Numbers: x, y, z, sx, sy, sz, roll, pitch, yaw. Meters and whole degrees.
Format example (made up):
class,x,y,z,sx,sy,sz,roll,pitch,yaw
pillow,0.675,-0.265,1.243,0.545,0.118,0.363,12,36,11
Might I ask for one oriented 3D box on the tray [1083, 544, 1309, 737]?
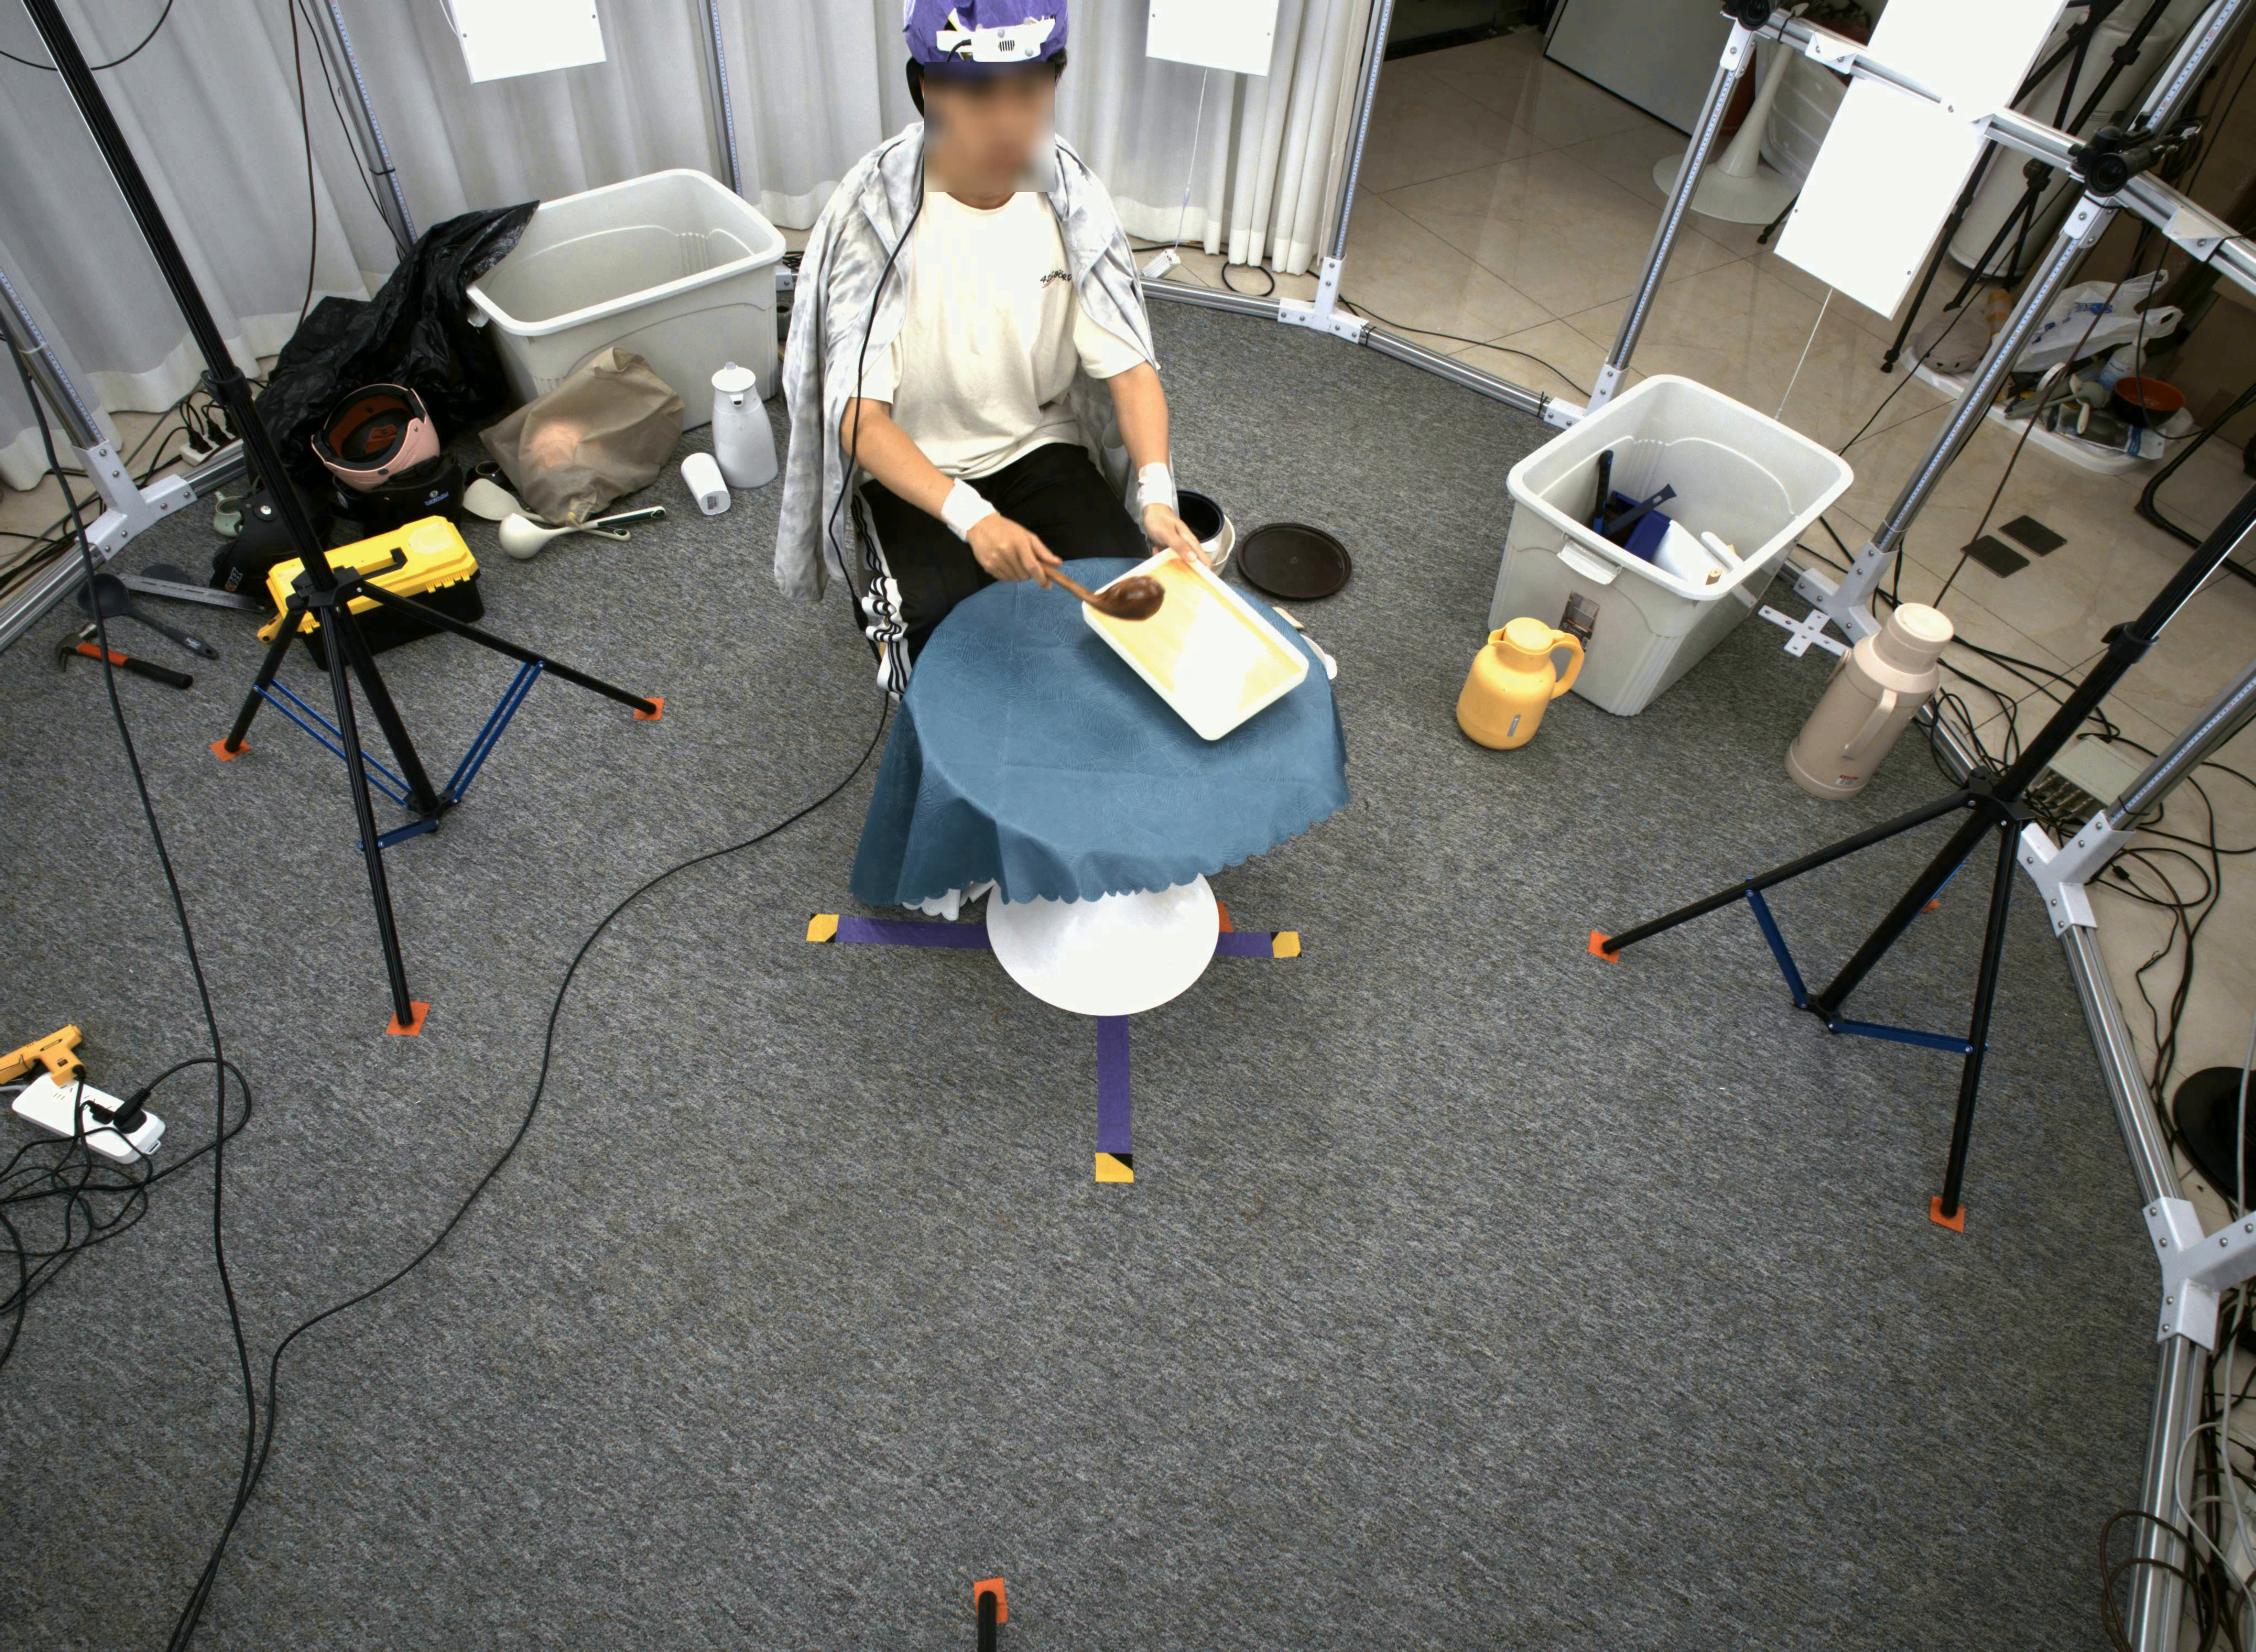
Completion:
class,x,y,z,sx,sy,sz,roll,pitch,yaw
tray,0.094,-0.269,1.831,0.192,0.027,0.305,-34,62,-18

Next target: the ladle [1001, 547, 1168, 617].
class,x,y,z,sx,sy,sz,roll,pitch,yaw
ladle,-0.062,-0.359,1.782,0.278,0.080,0.077,32,73,34
